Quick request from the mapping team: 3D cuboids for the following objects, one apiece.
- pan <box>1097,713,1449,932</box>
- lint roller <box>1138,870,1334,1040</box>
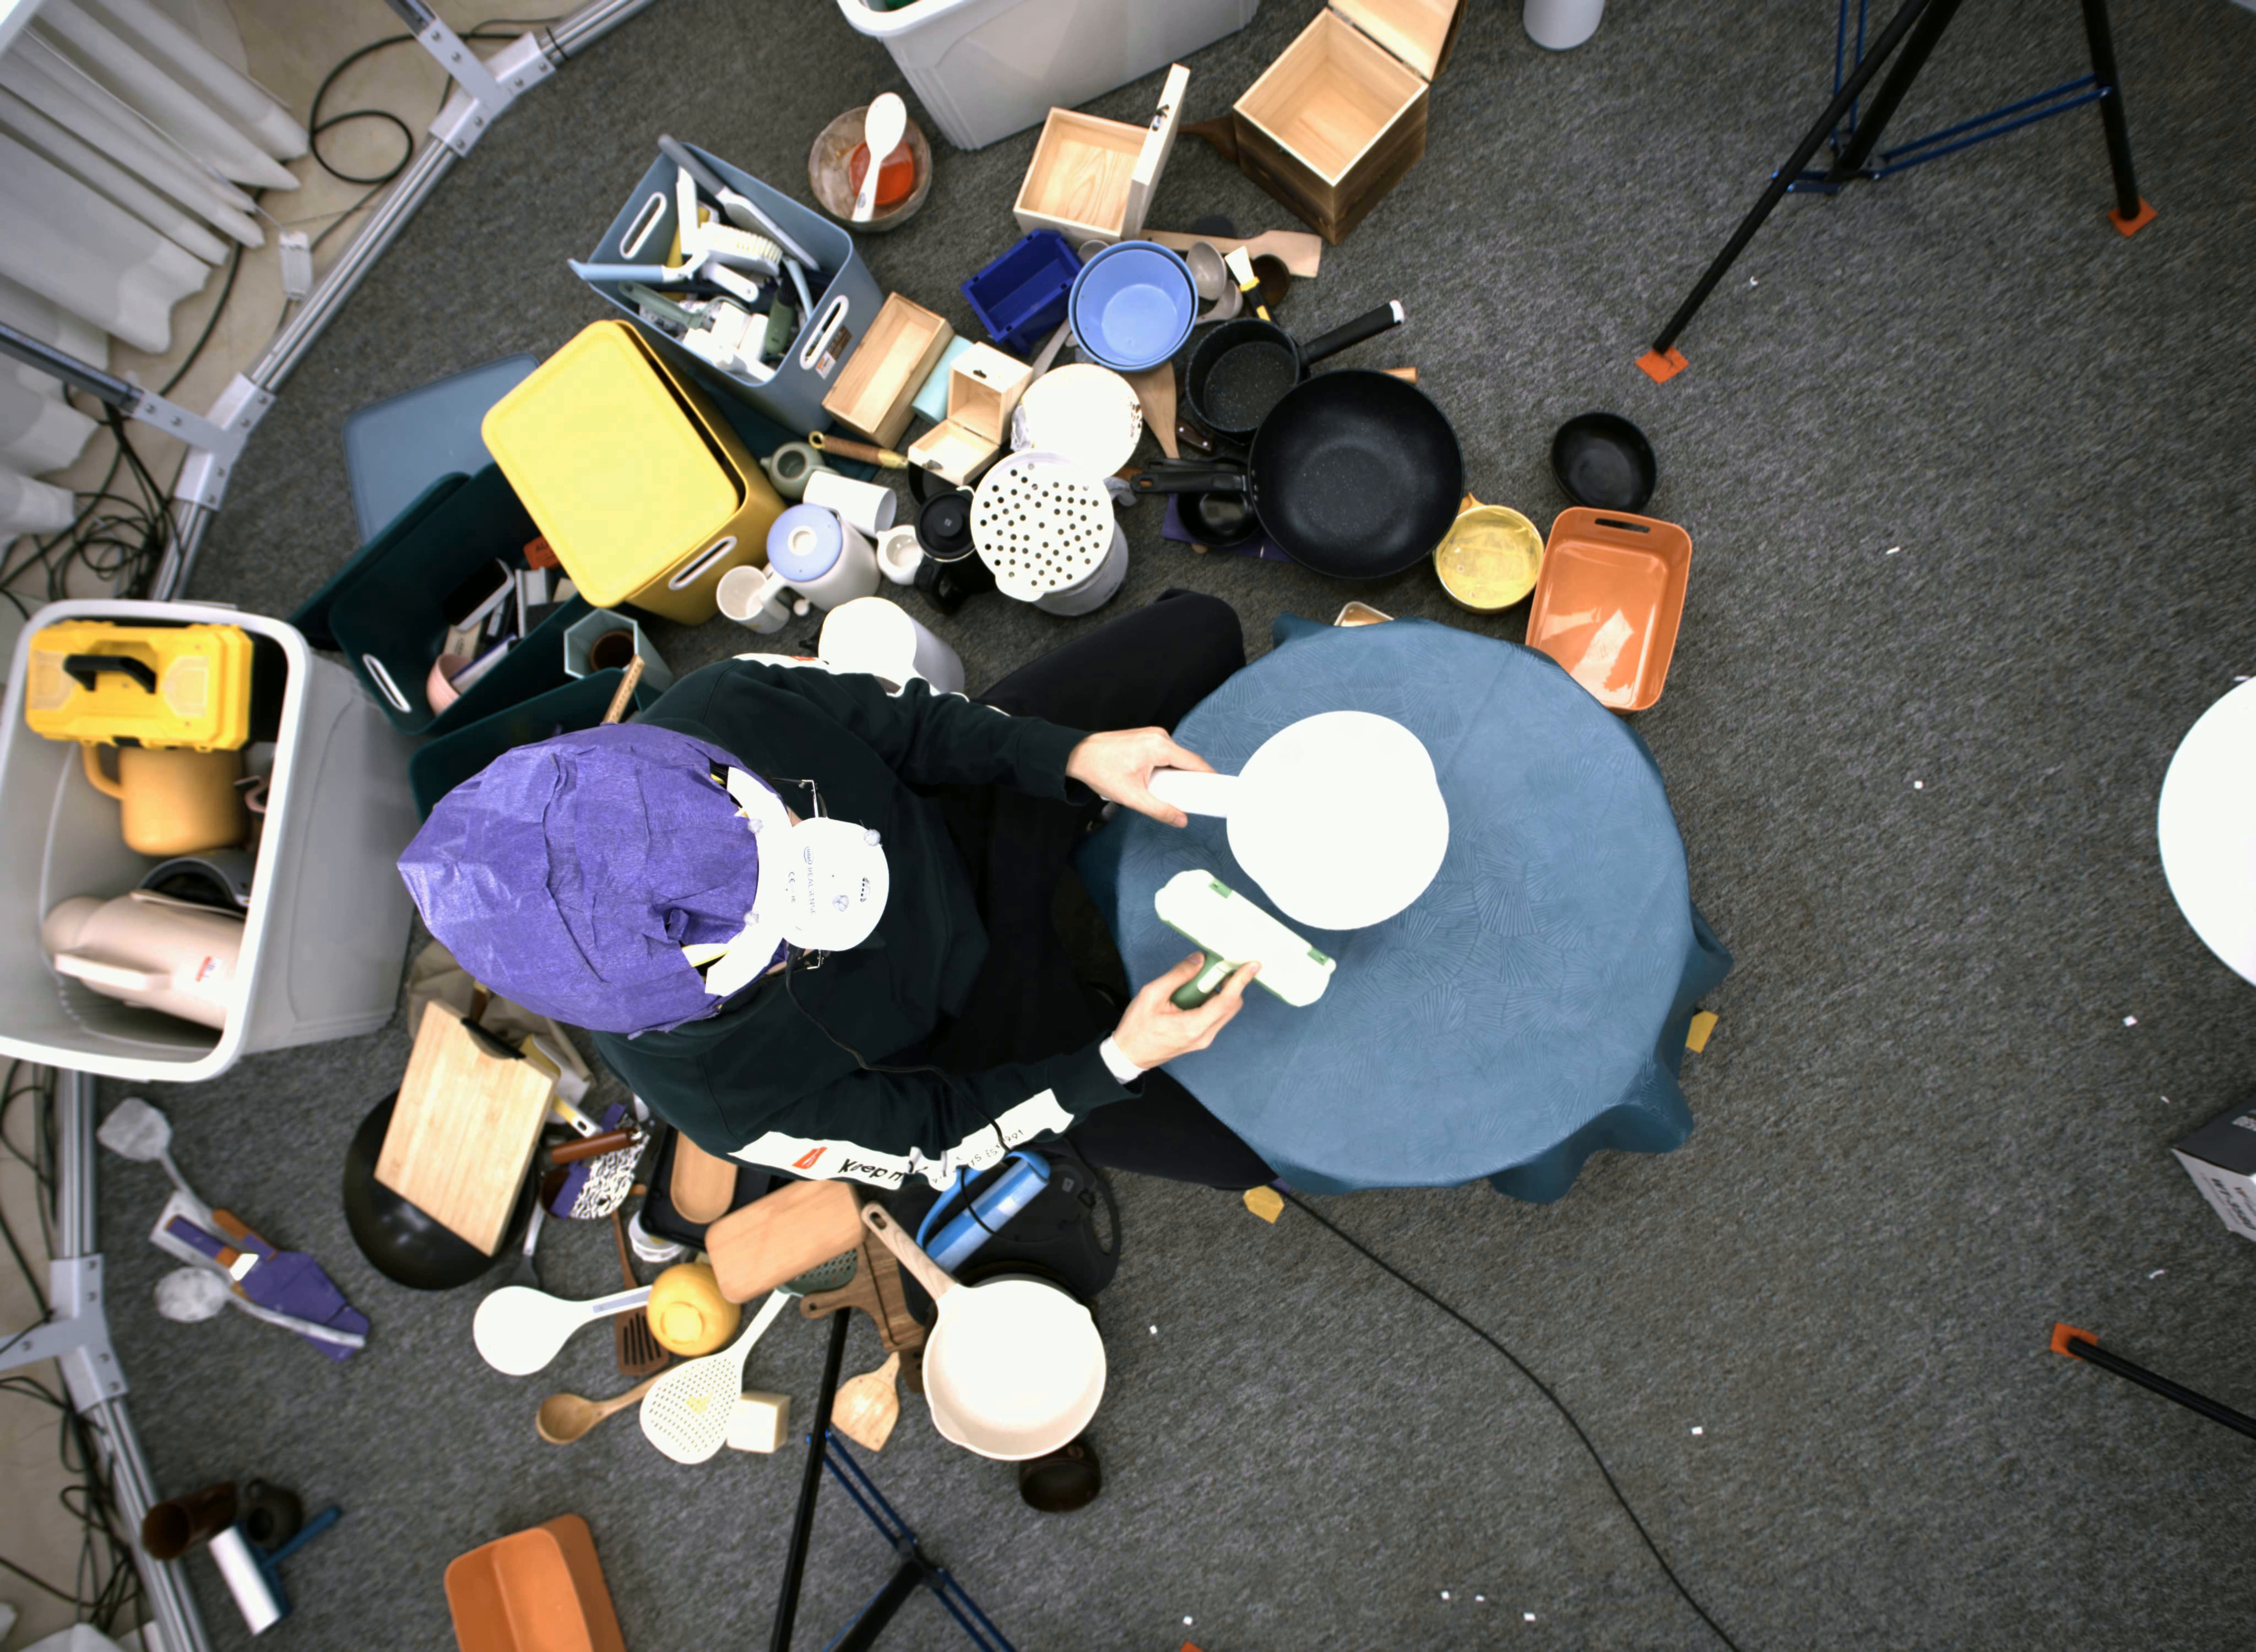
[{"bbox_3d":[0.139,-0.009,1.356,0.356,0.103,0.198,9,68,32],"label":"pan"},{"bbox_3d":[0.079,0.155,1.351,0.200,0.081,0.185,34,104,-28],"label":"lint roller"}]
